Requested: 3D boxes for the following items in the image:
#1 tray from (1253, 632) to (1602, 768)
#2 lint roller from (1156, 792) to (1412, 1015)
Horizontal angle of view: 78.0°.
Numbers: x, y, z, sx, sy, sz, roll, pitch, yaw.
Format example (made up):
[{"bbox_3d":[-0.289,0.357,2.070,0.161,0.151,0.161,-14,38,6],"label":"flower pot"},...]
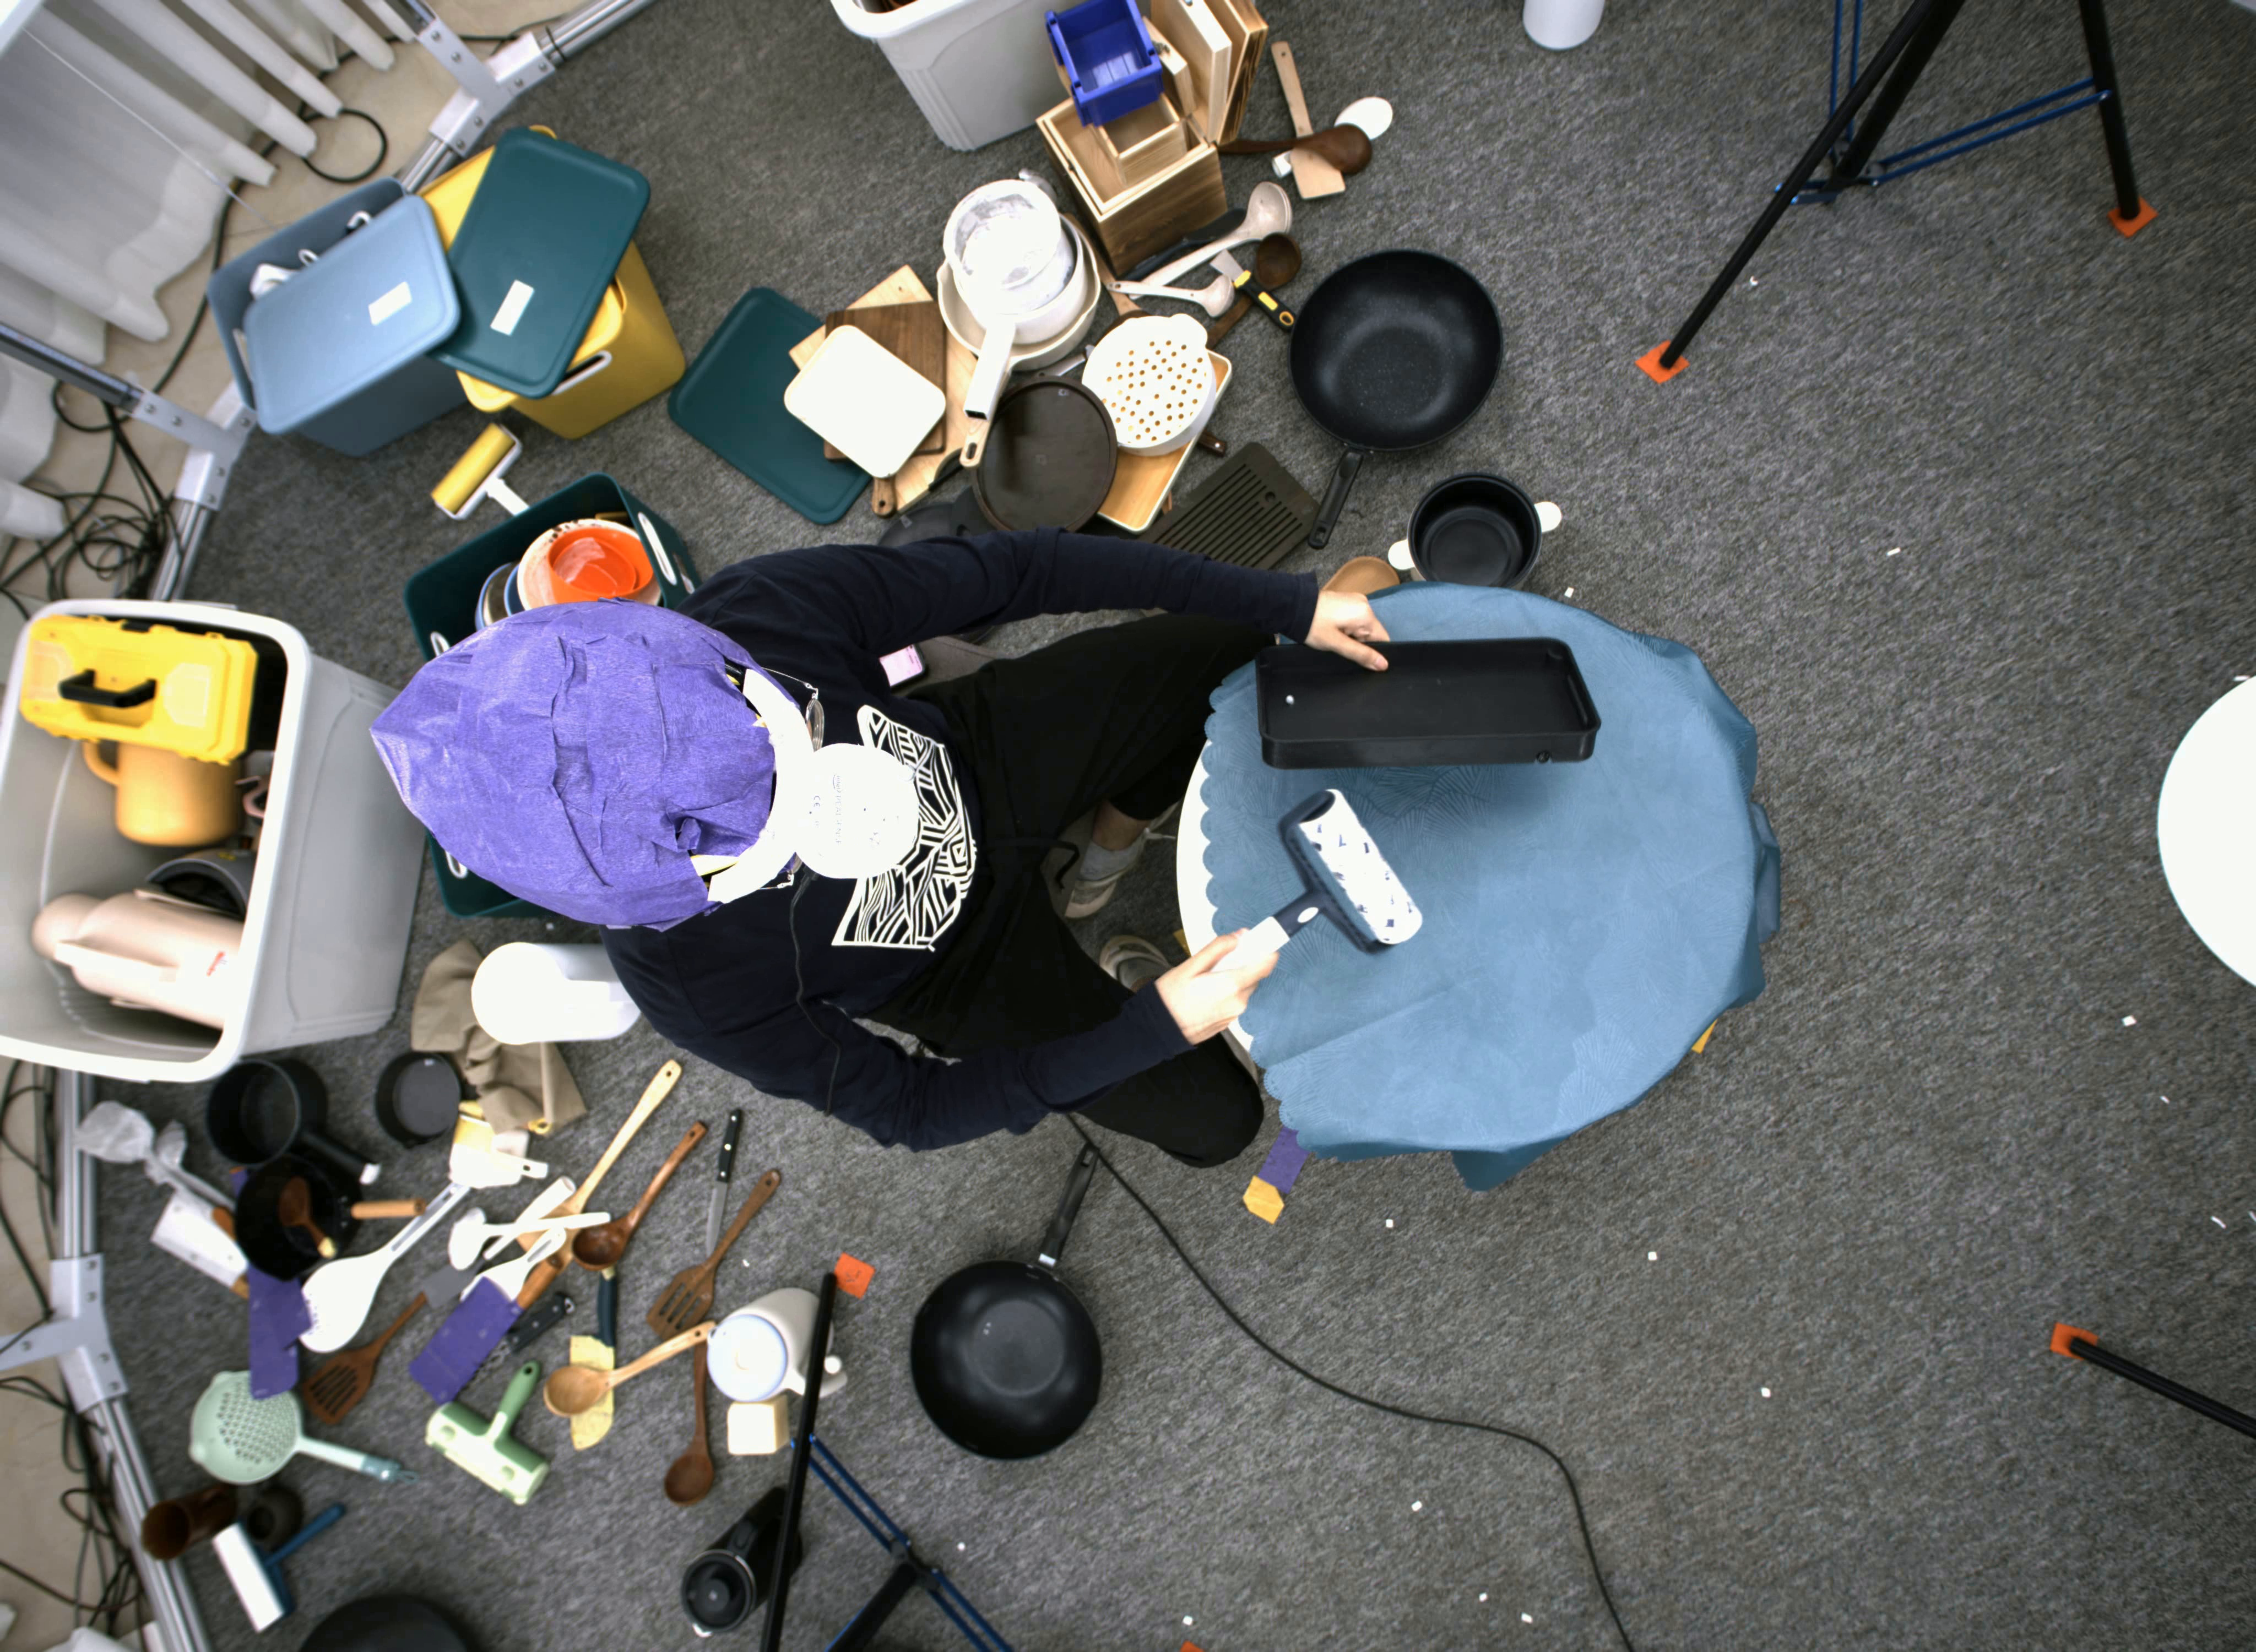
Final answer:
[{"bbox_3d":[0.284,-0.127,1.342,0.319,0.179,0.038,-3,127,6],"label":"tray"},{"bbox_3d":[0.132,0.102,1.299,0.248,0.049,0.178,-38,117,3],"label":"lint roller"}]
